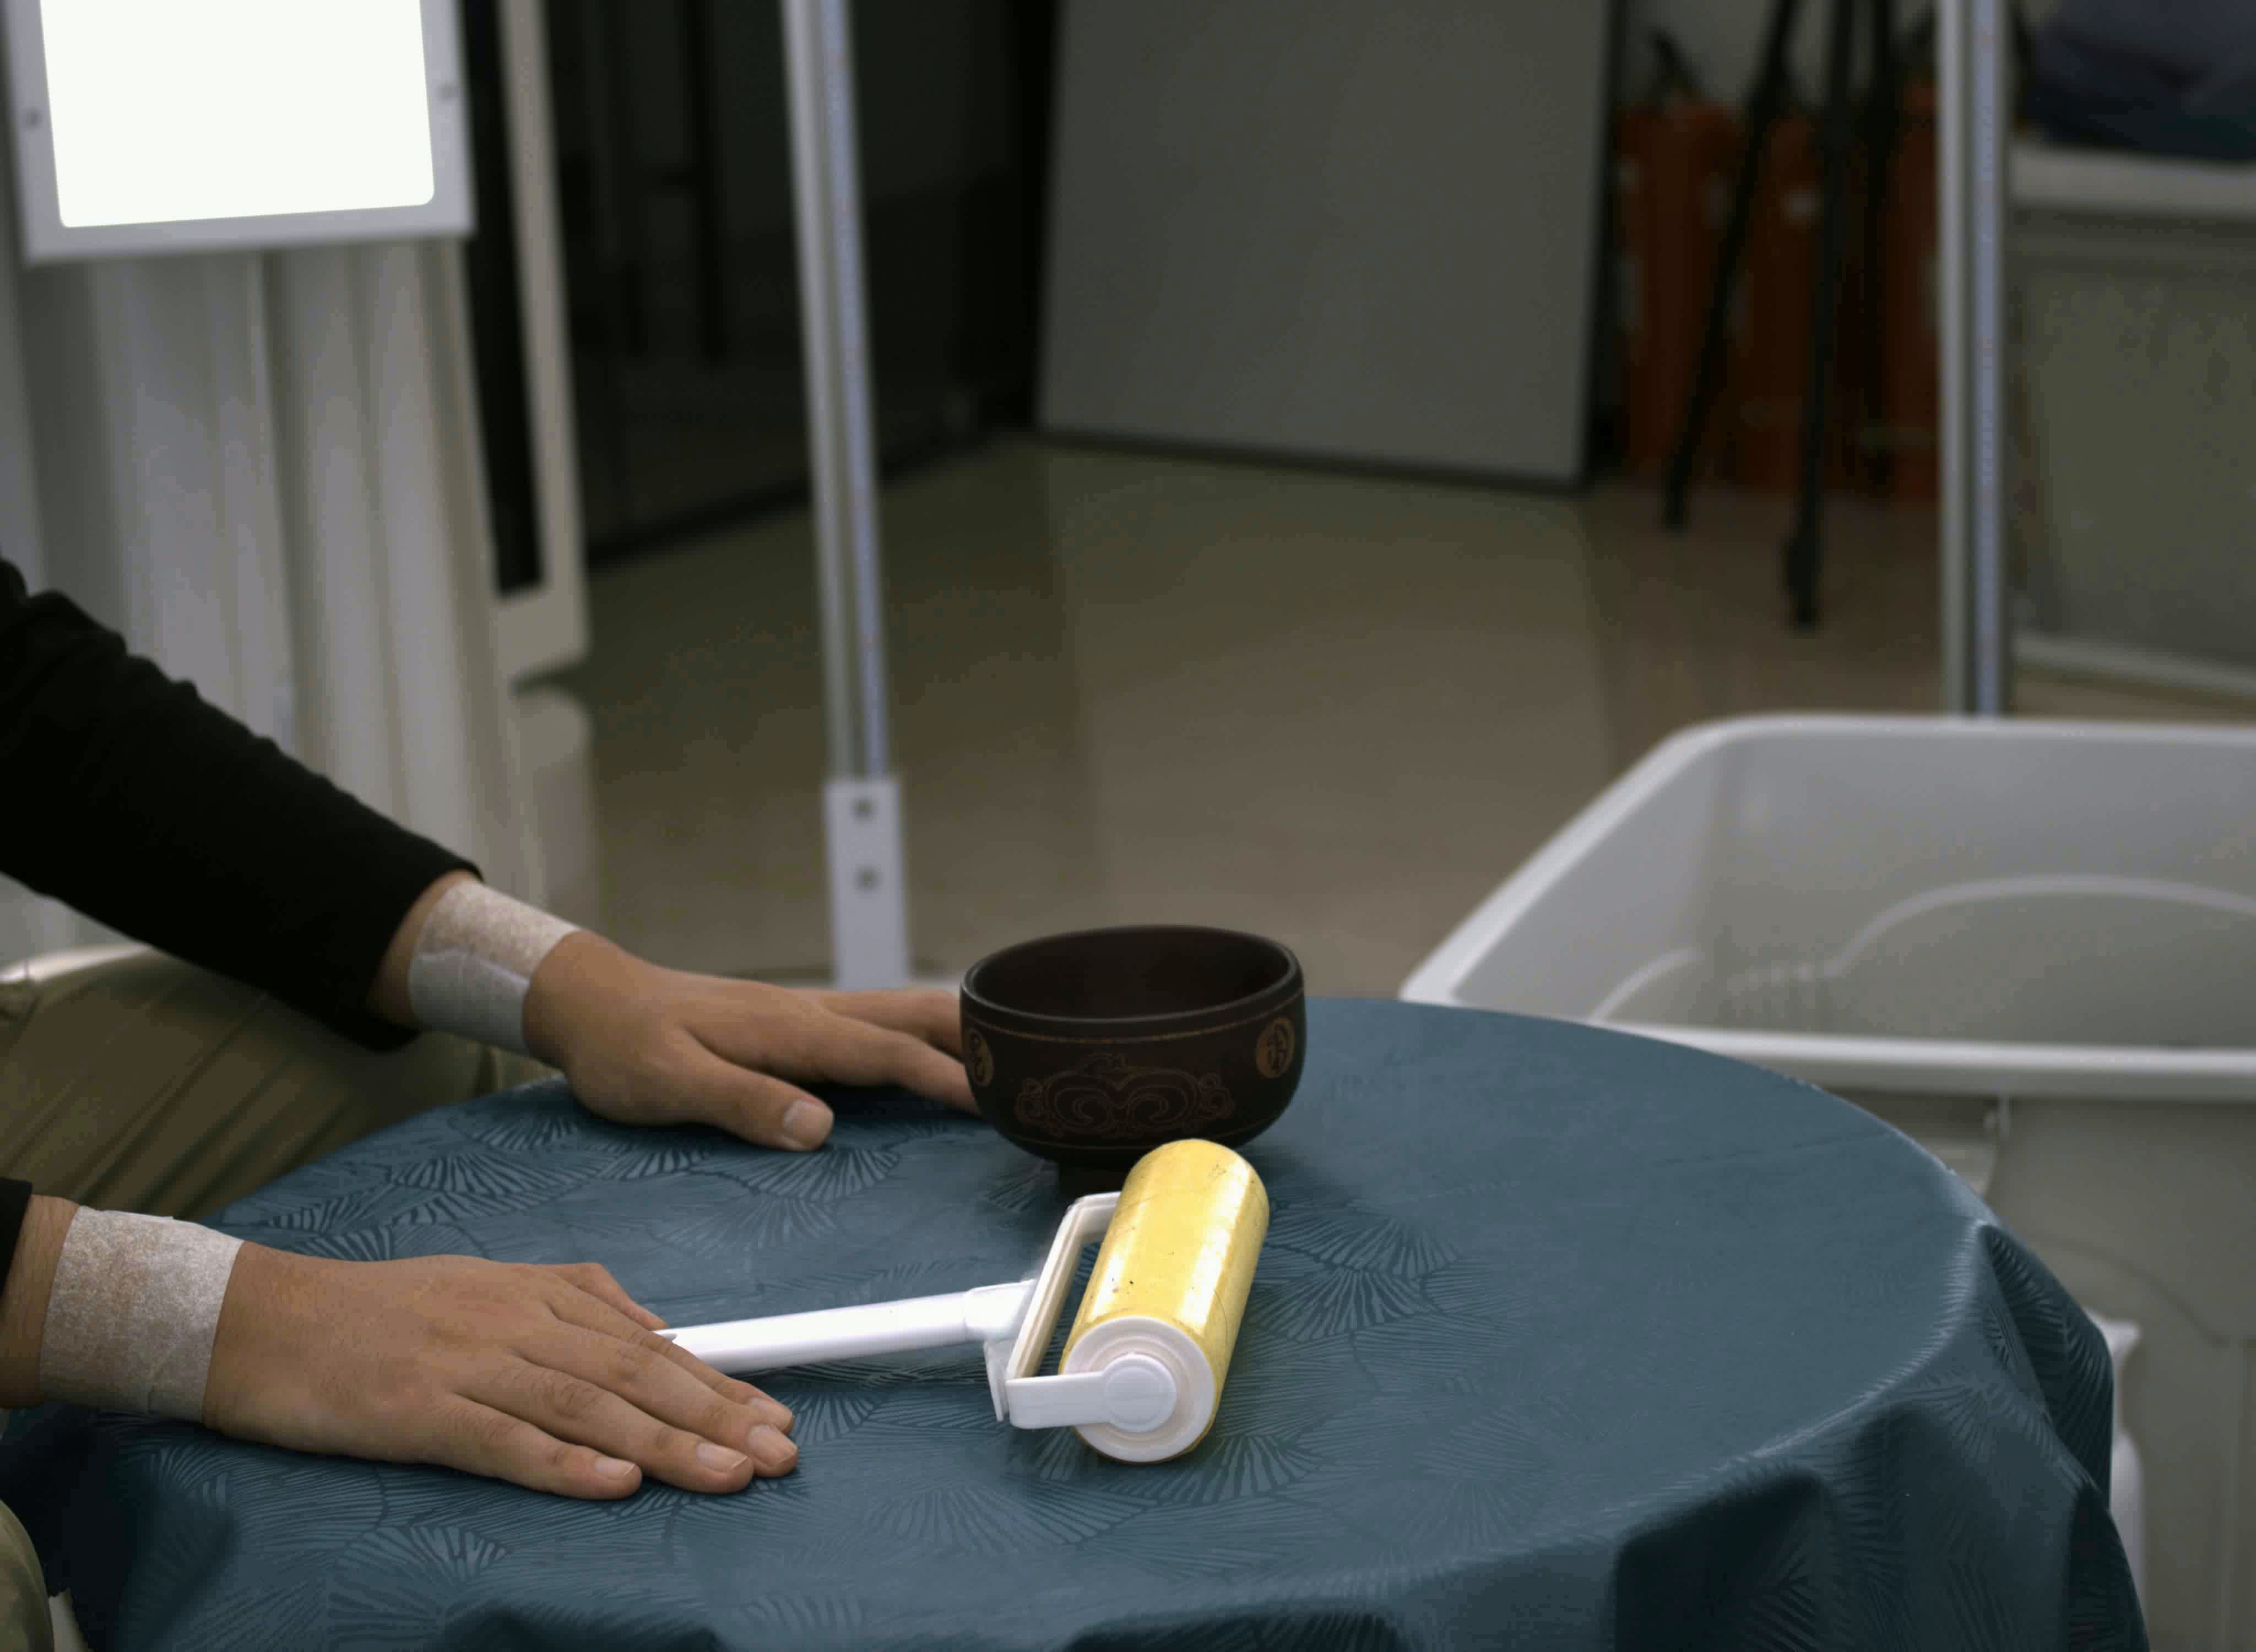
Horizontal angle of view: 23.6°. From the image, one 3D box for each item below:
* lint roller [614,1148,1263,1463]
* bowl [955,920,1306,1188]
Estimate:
[{"bbox_3d":[-0.058,0.140,1.602,0.190,0.052,0.174,2,14,5],"label":"lint roller"},{"bbox_3d":[0.002,0.079,1.784,0.116,0.070,0.118,-3,13,0],"label":"bowl"}]
